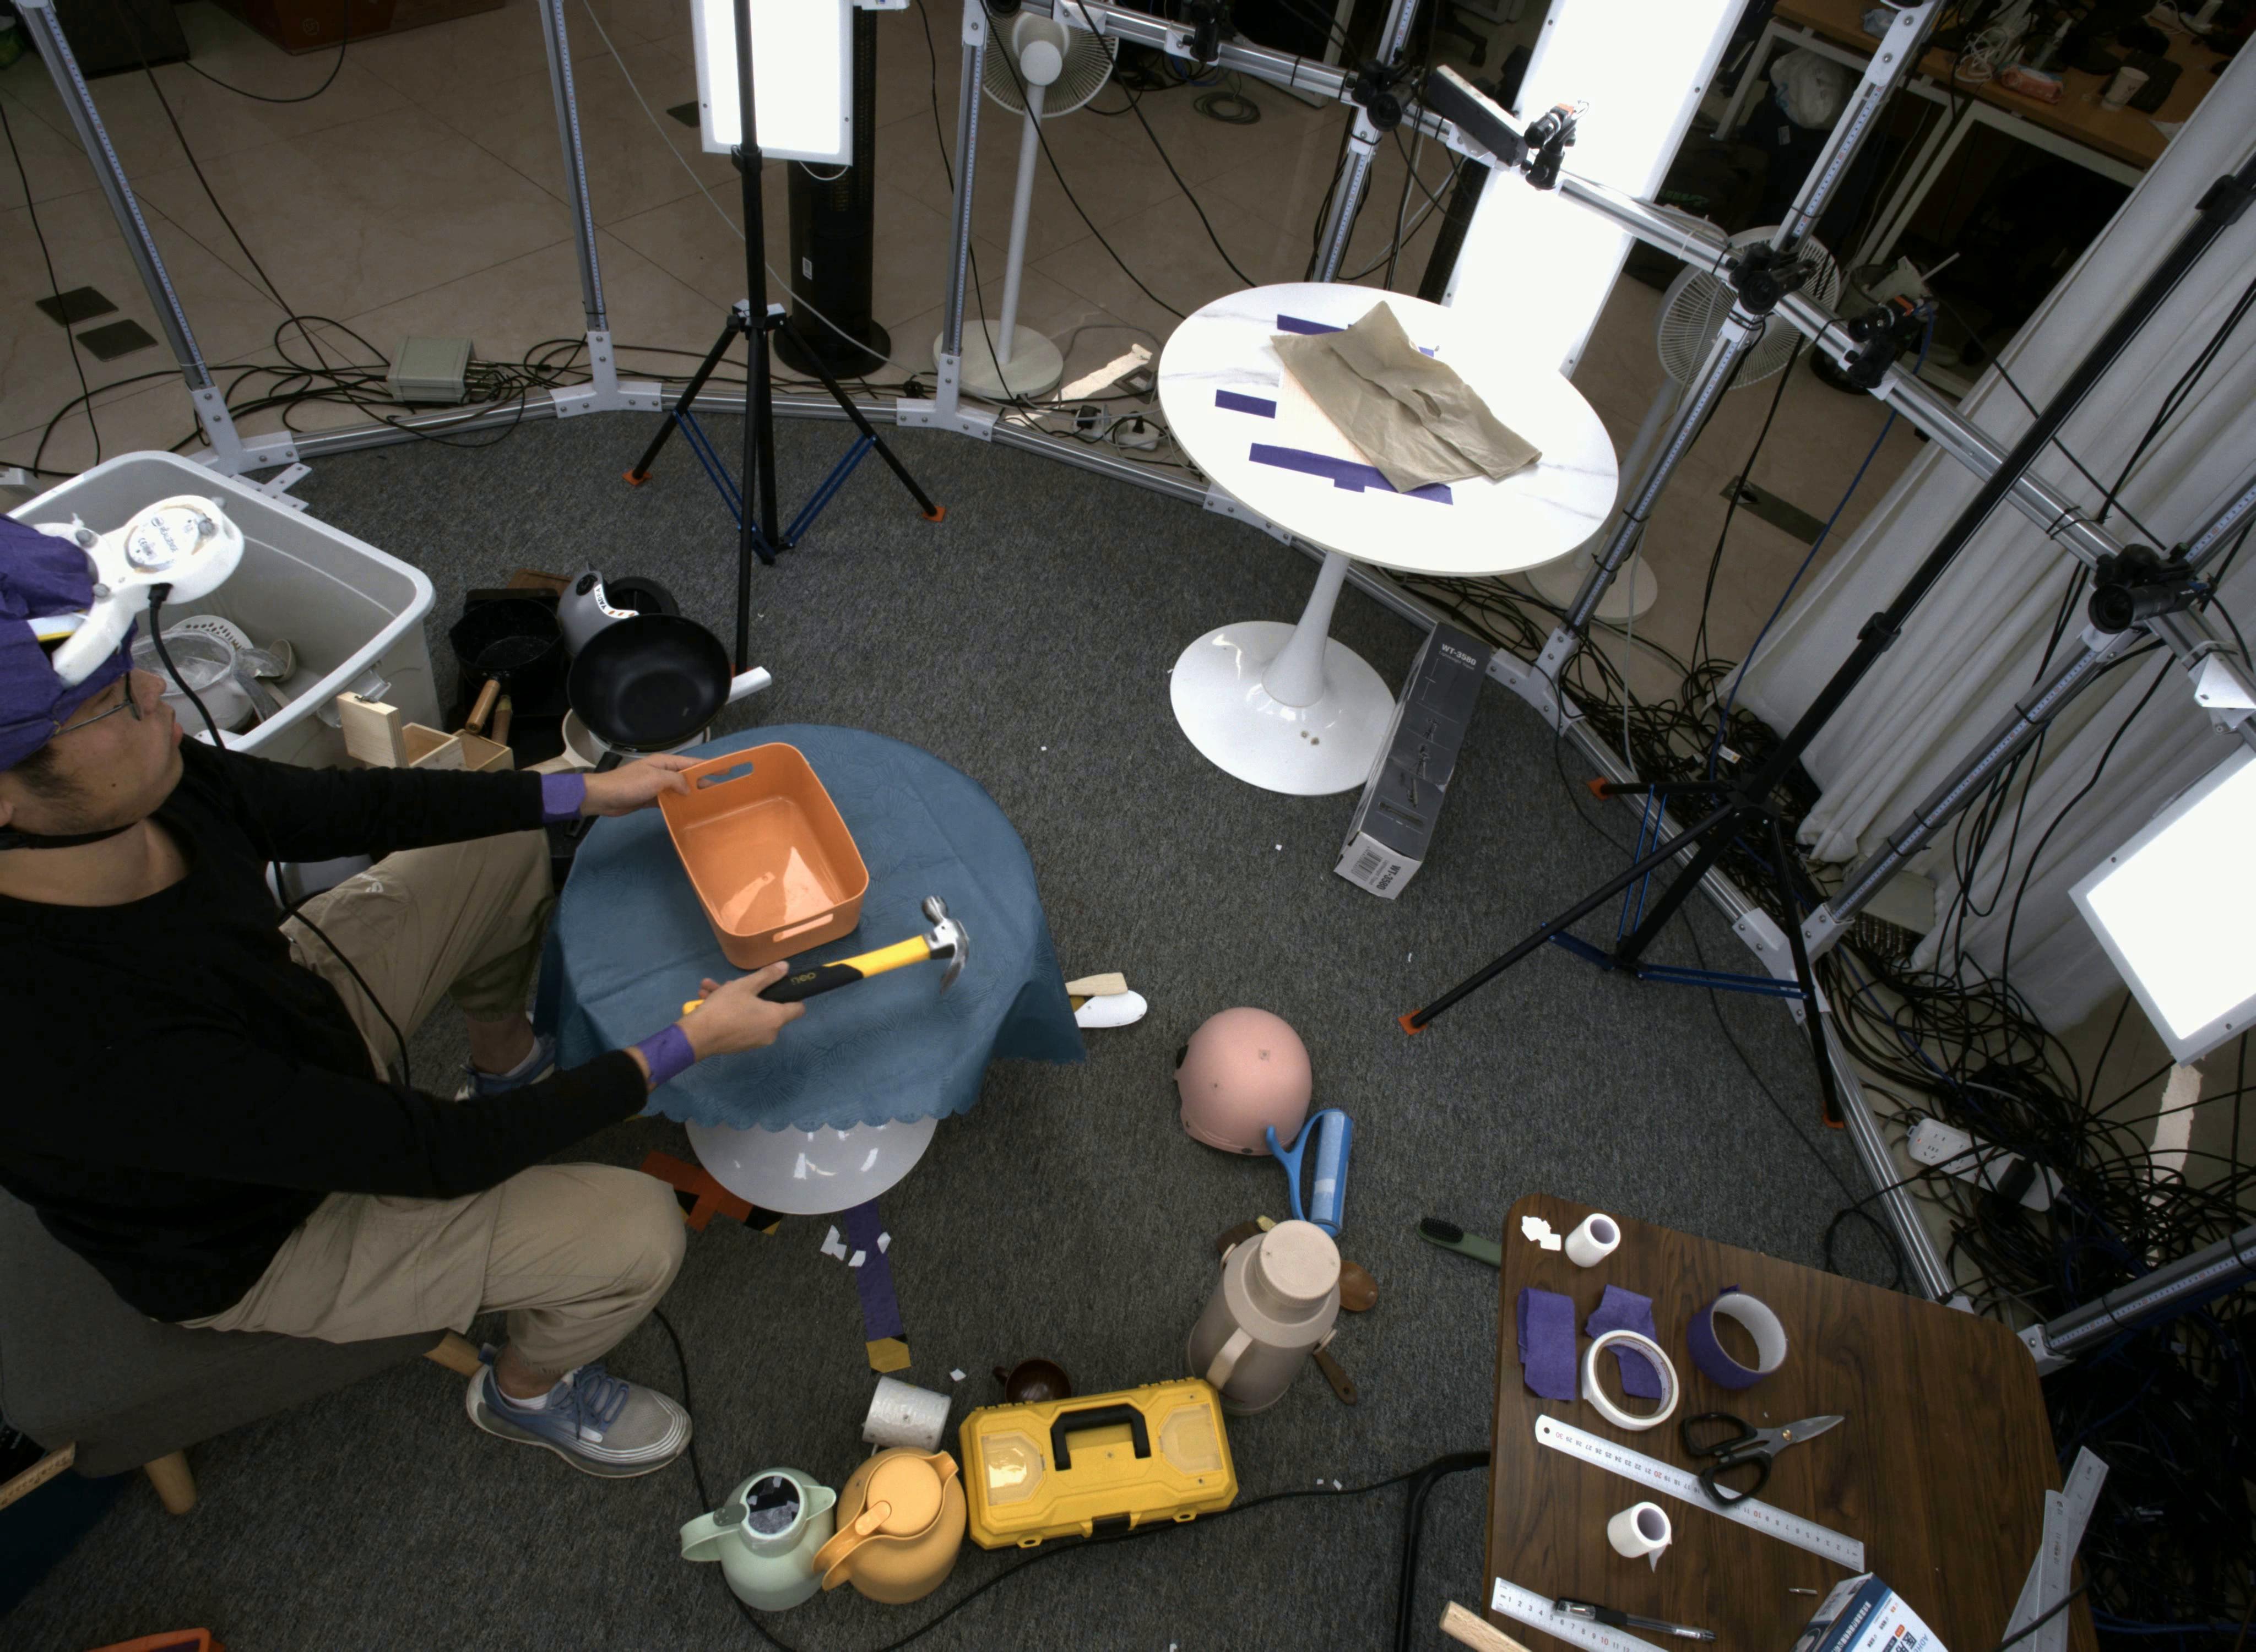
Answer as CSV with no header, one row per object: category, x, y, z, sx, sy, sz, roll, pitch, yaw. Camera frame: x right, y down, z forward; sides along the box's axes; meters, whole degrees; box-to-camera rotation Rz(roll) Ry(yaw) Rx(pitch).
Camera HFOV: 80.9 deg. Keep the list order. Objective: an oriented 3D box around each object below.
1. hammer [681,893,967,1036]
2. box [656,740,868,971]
hammer,-0.345,0.168,1.492,0.340,0.033,0.127,-16,47,-26
box,-0.457,0.039,1.617,0.200,0.105,0.266,-22,61,-26
